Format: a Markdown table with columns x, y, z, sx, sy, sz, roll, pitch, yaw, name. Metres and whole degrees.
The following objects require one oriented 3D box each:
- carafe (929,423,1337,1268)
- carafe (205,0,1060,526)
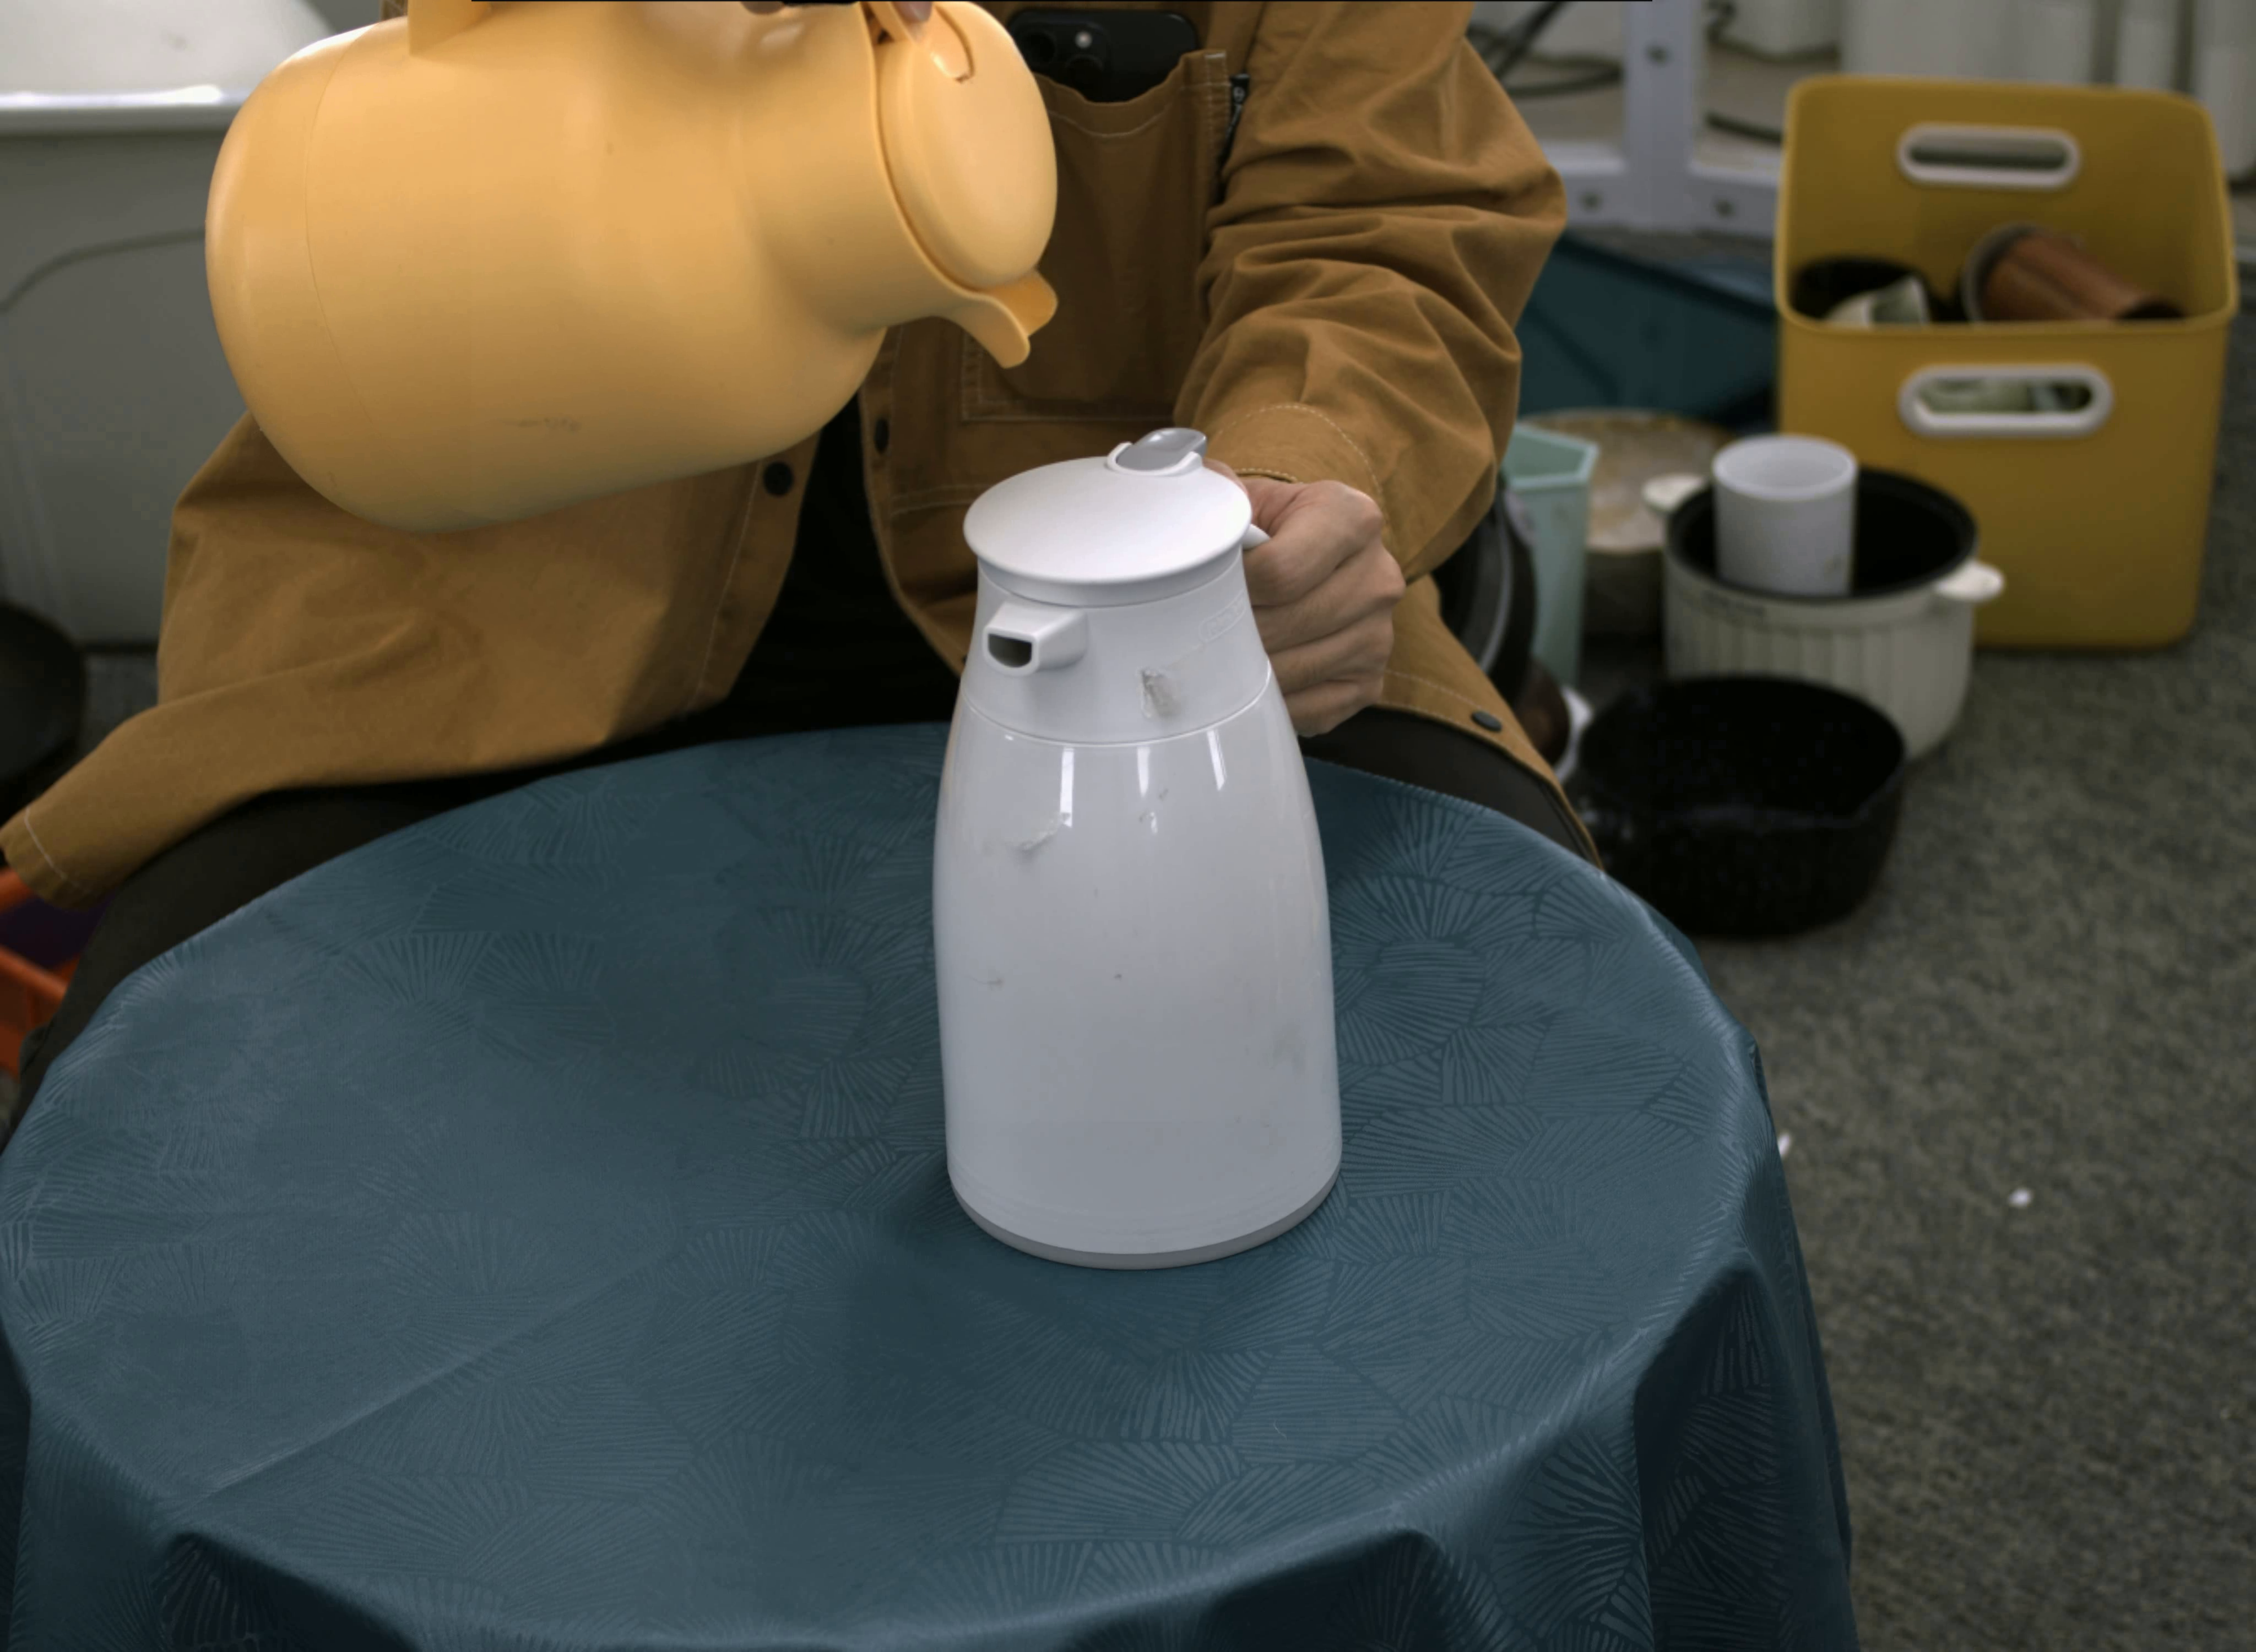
| x | y | z | sx | sy | sz | roll | pitch | yaw | name |
| --- | --- | --- | --- | --- | --- | --- | --- | --- | --- |
| 0.007 | -0.004 | 1.836 | 0.132 | 0.246 | 0.170 | 11 | 29 | 26 | carafe |
| -0.156 | -0.208 | 1.755 | 0.257 | 0.201 | 0.166 | -11 | 28 | 26 | carafe |
